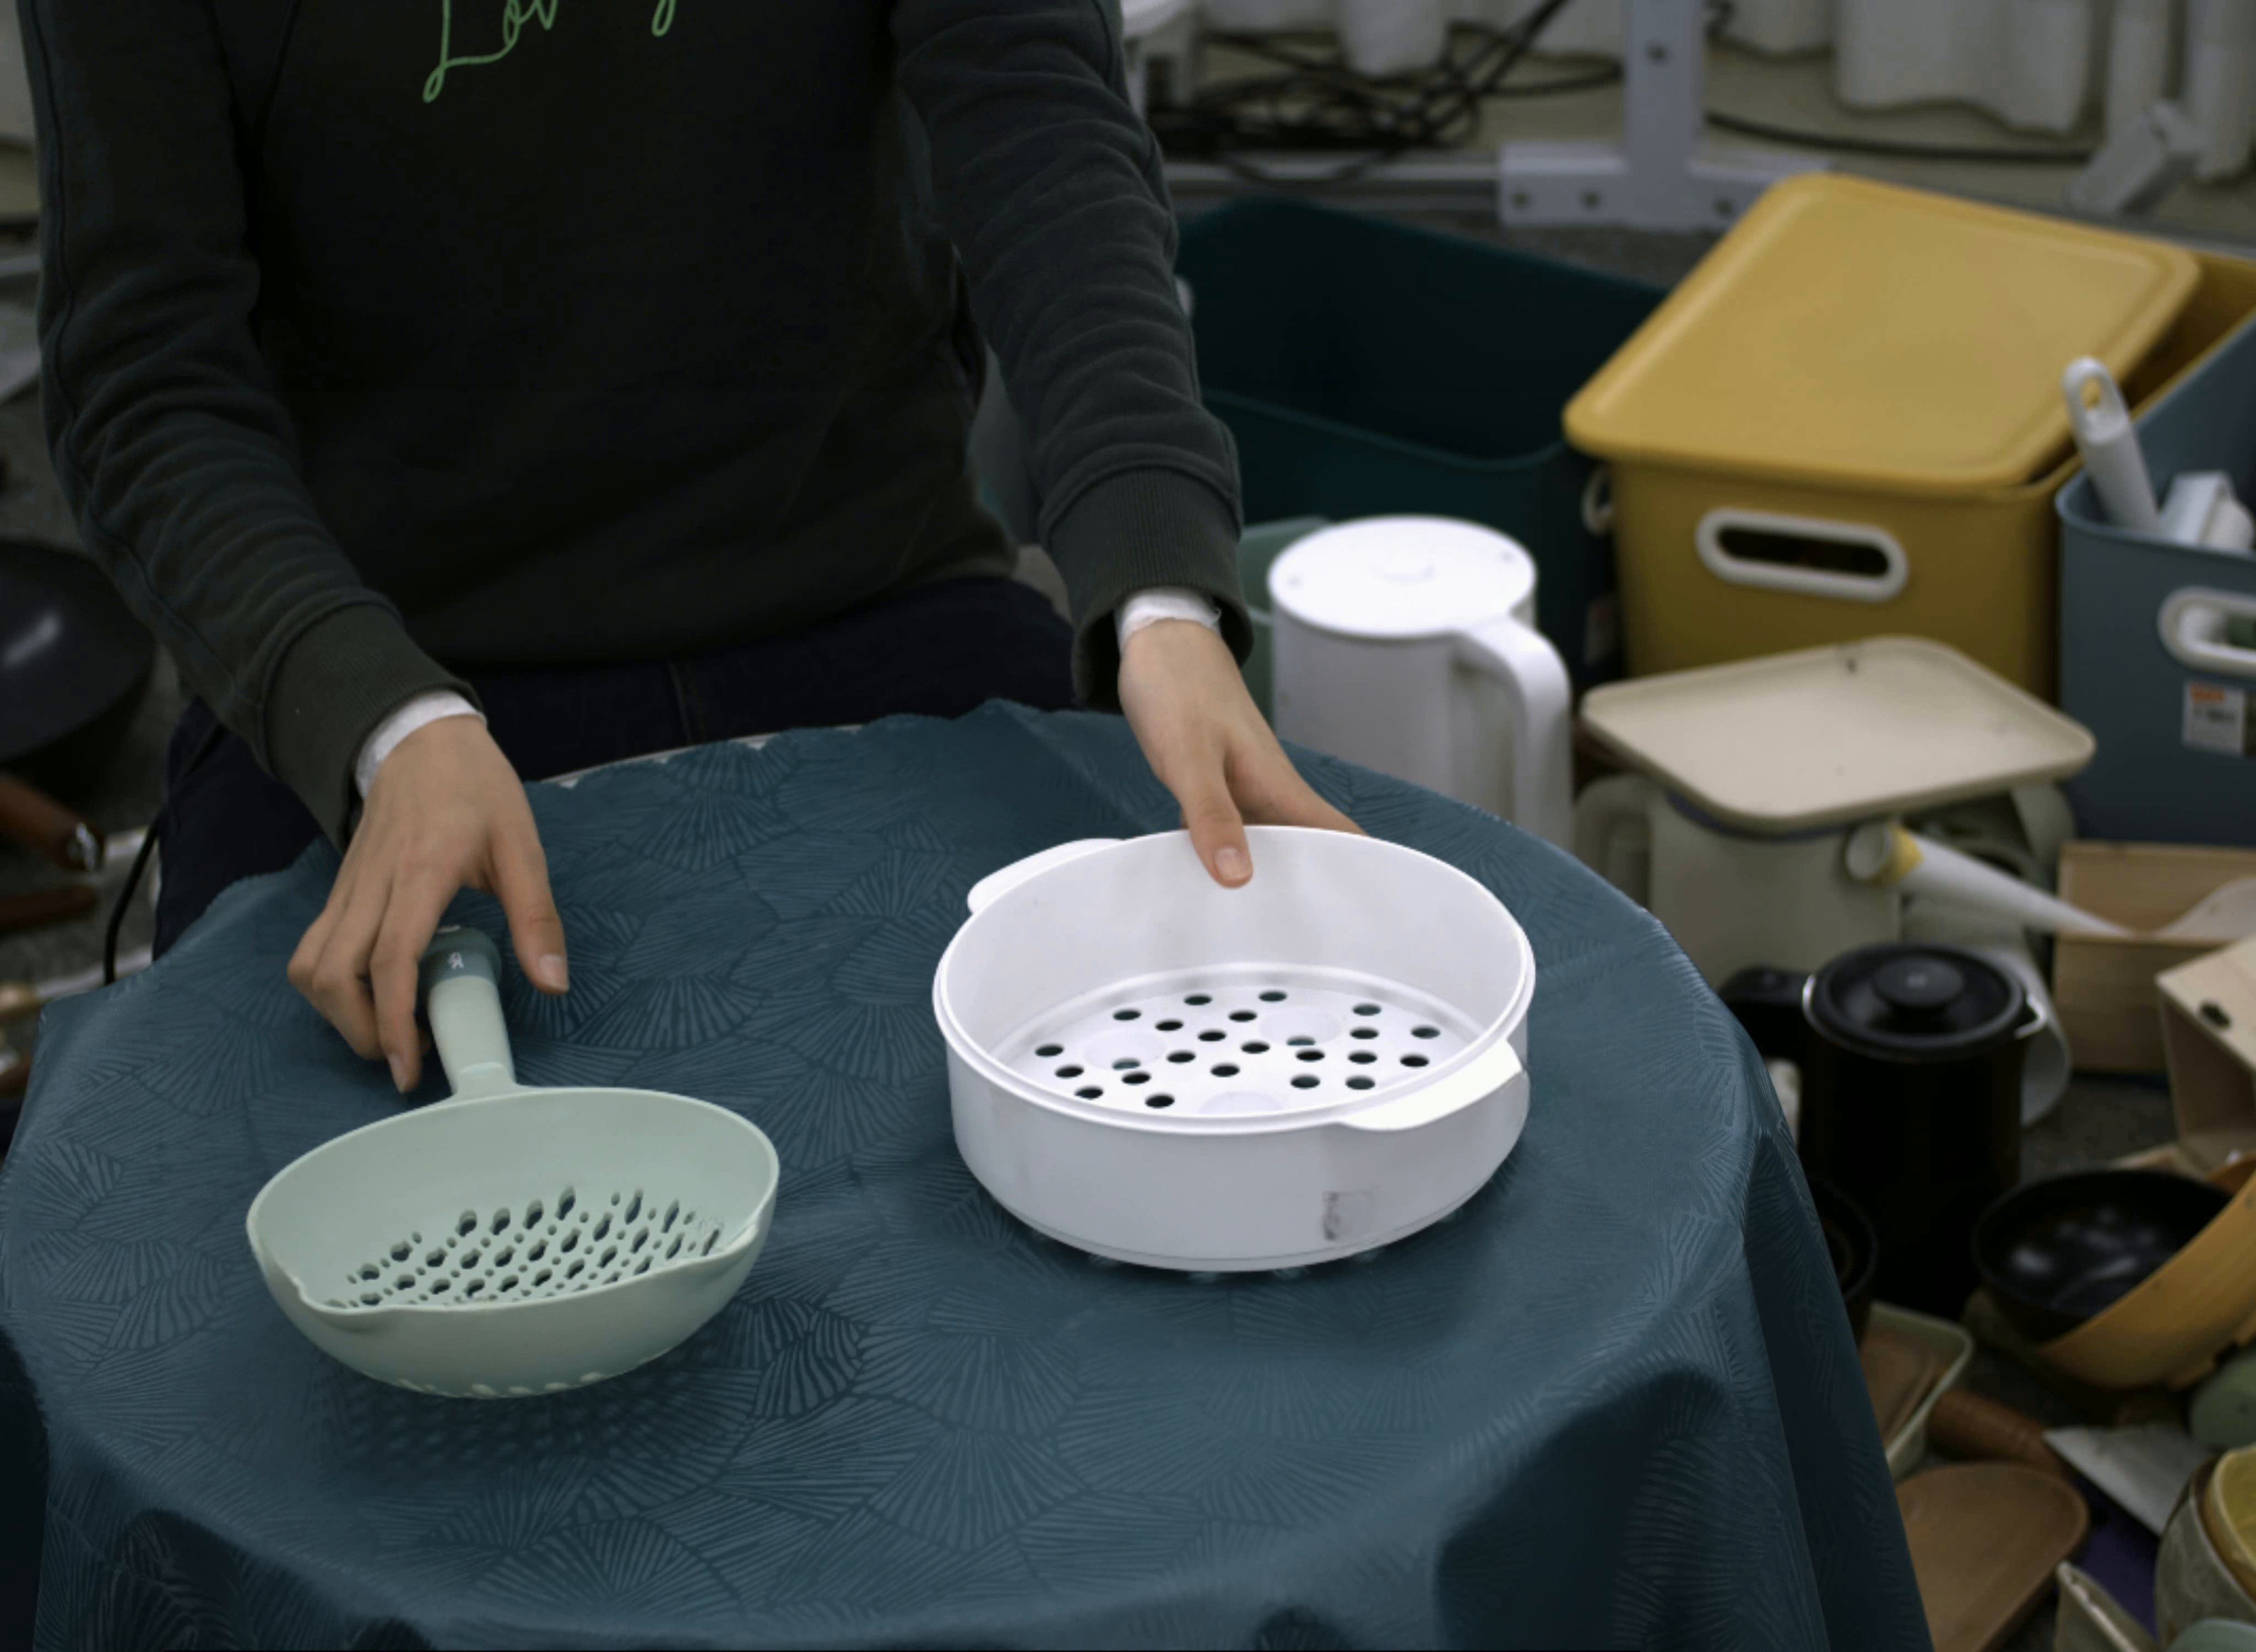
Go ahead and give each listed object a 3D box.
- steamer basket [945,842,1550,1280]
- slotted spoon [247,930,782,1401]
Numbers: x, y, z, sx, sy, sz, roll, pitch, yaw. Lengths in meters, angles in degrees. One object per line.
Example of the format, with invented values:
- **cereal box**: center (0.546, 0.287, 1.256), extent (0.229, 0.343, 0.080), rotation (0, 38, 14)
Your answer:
- **steamer basket**: center (0.040, 0.079, 1.872), extent (0.204, 0.068, 0.230), rotation (-22, 33, -35)
- **slotted spoon**: center (-0.210, 0.097, 1.861), extent (0.169, 0.074, 0.363), rotation (-7, 27, -9)
